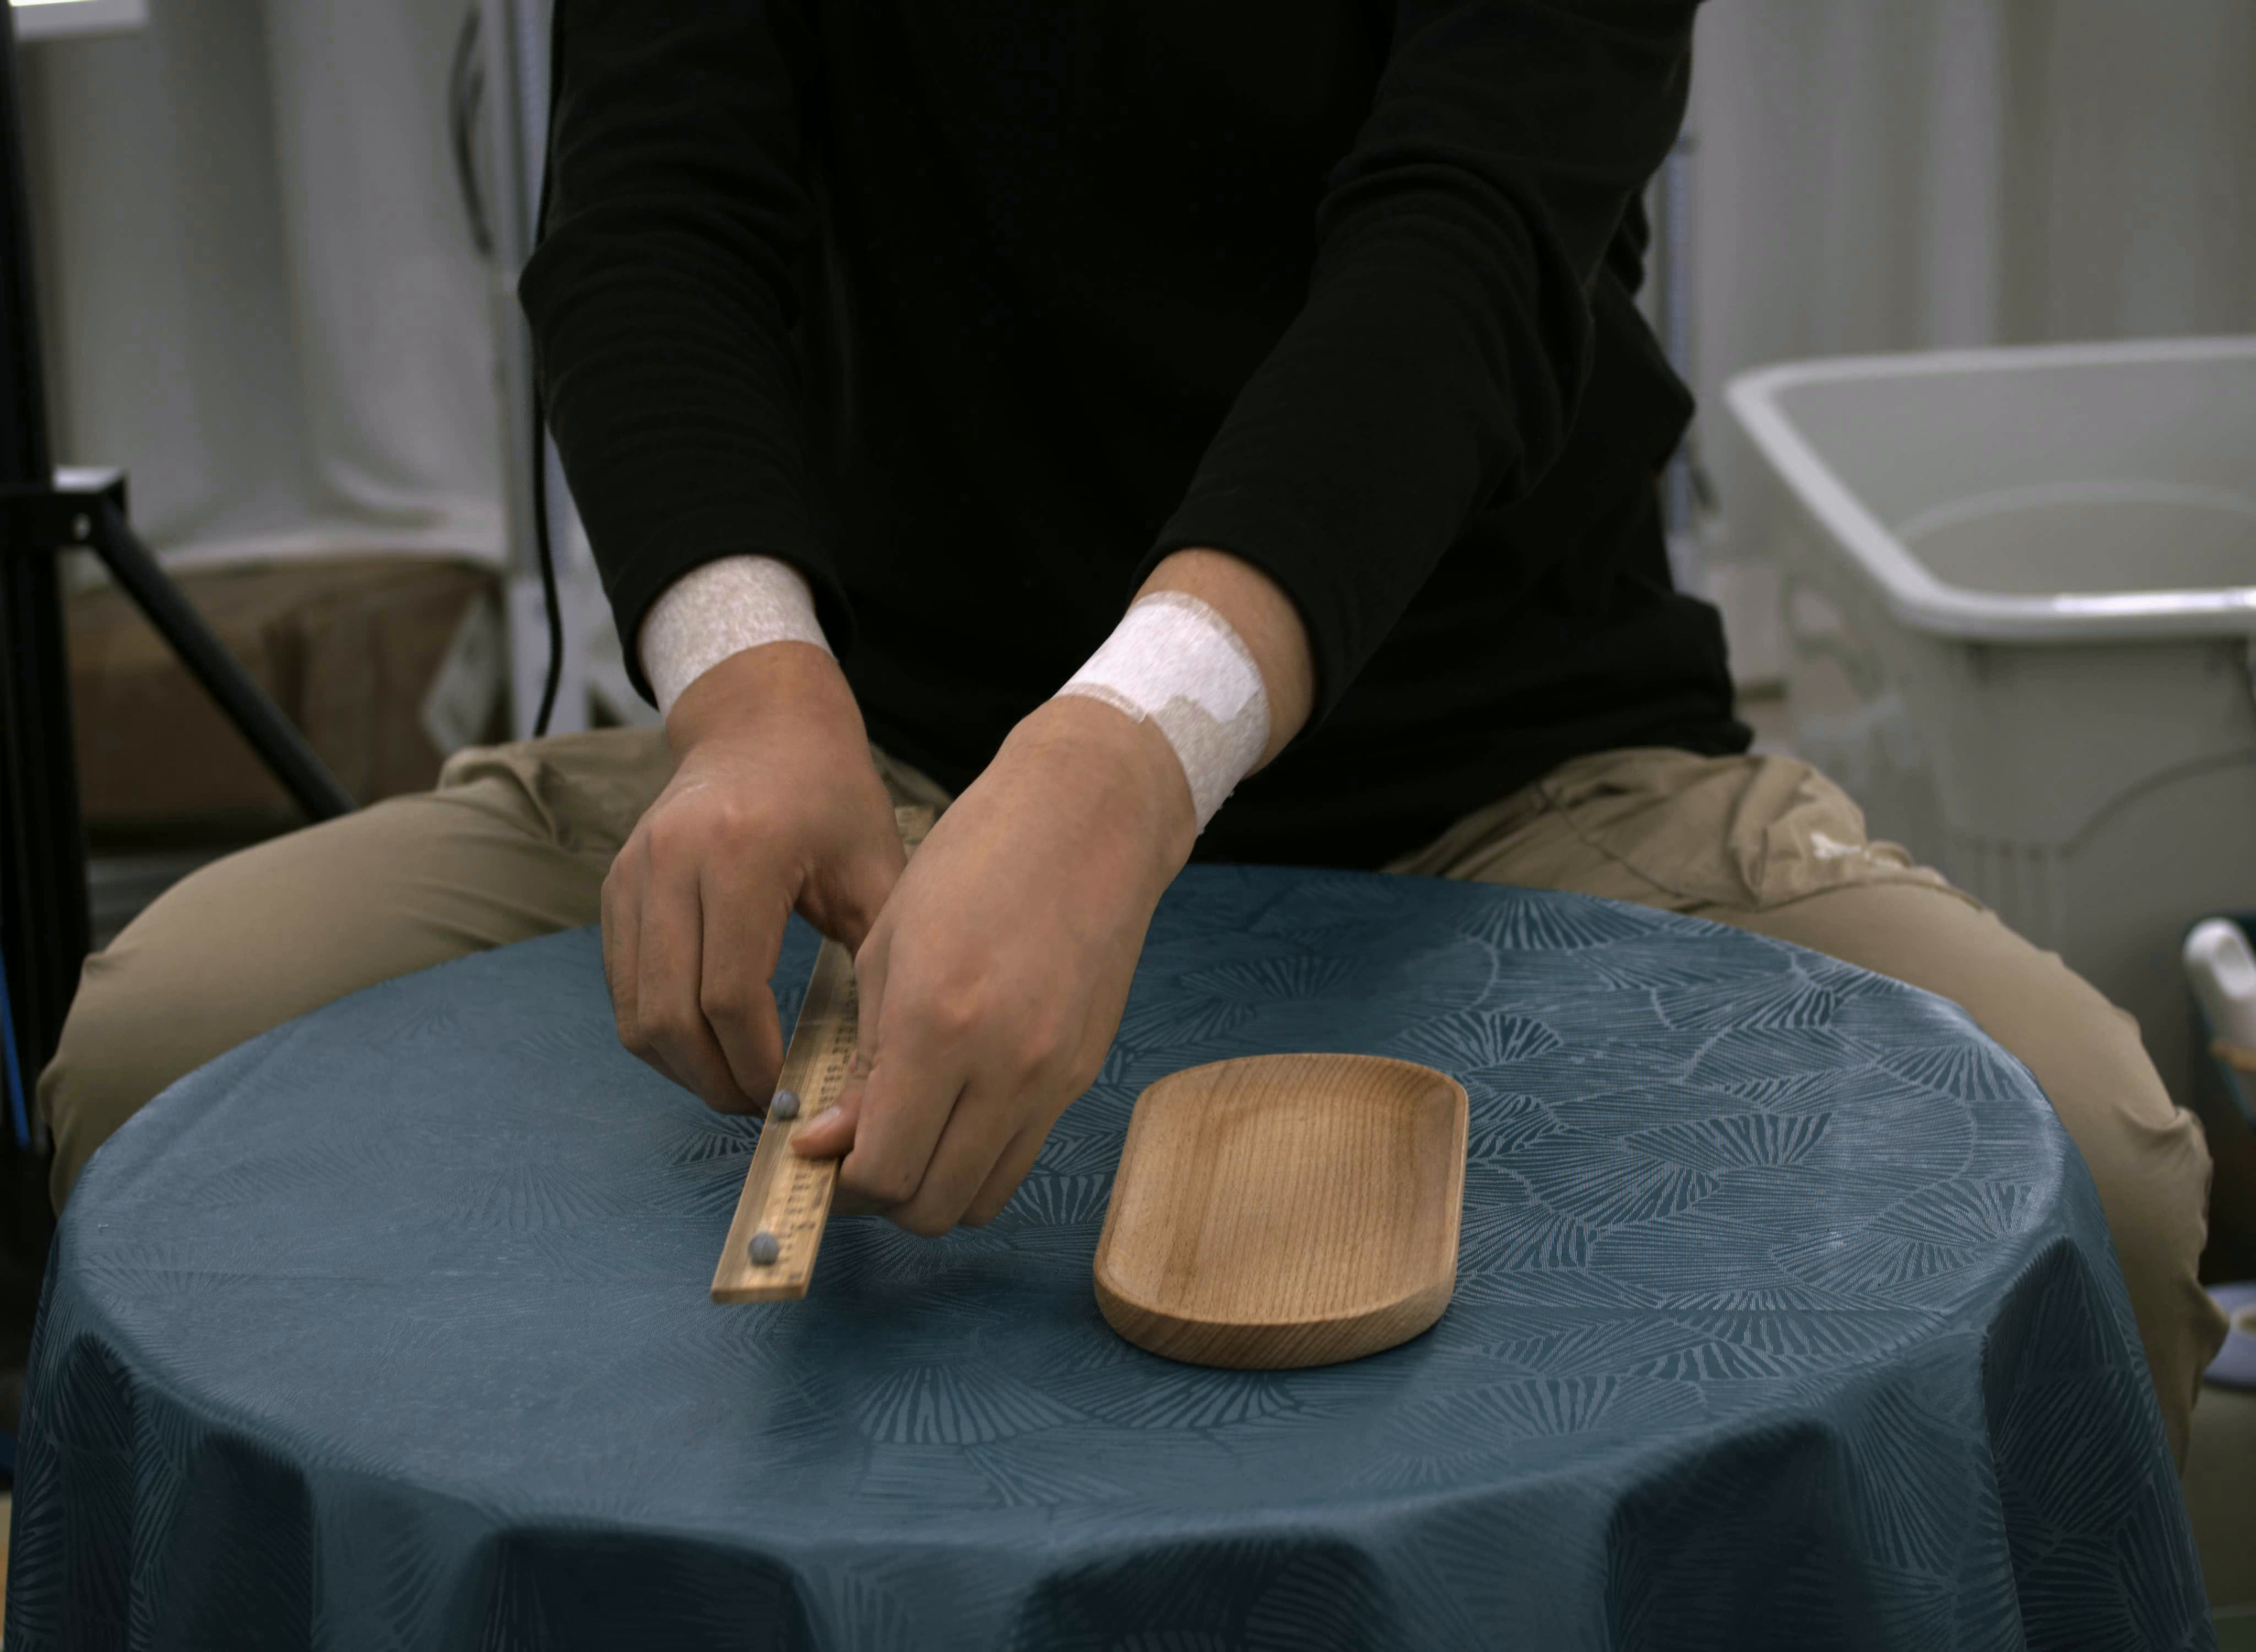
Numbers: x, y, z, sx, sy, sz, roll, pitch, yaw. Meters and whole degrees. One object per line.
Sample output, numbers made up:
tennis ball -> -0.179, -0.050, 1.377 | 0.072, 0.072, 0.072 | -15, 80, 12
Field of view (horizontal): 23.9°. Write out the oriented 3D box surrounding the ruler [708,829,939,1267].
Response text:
ruler -> -0.086, 0.057, 1.608 | 0.027, 0.006, 0.501 | 2, 13, 2

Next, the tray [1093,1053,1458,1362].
tray -> 0.044, 0.107, 1.523 | 0.101, 0.020, 0.231 | 0, 14, 3
